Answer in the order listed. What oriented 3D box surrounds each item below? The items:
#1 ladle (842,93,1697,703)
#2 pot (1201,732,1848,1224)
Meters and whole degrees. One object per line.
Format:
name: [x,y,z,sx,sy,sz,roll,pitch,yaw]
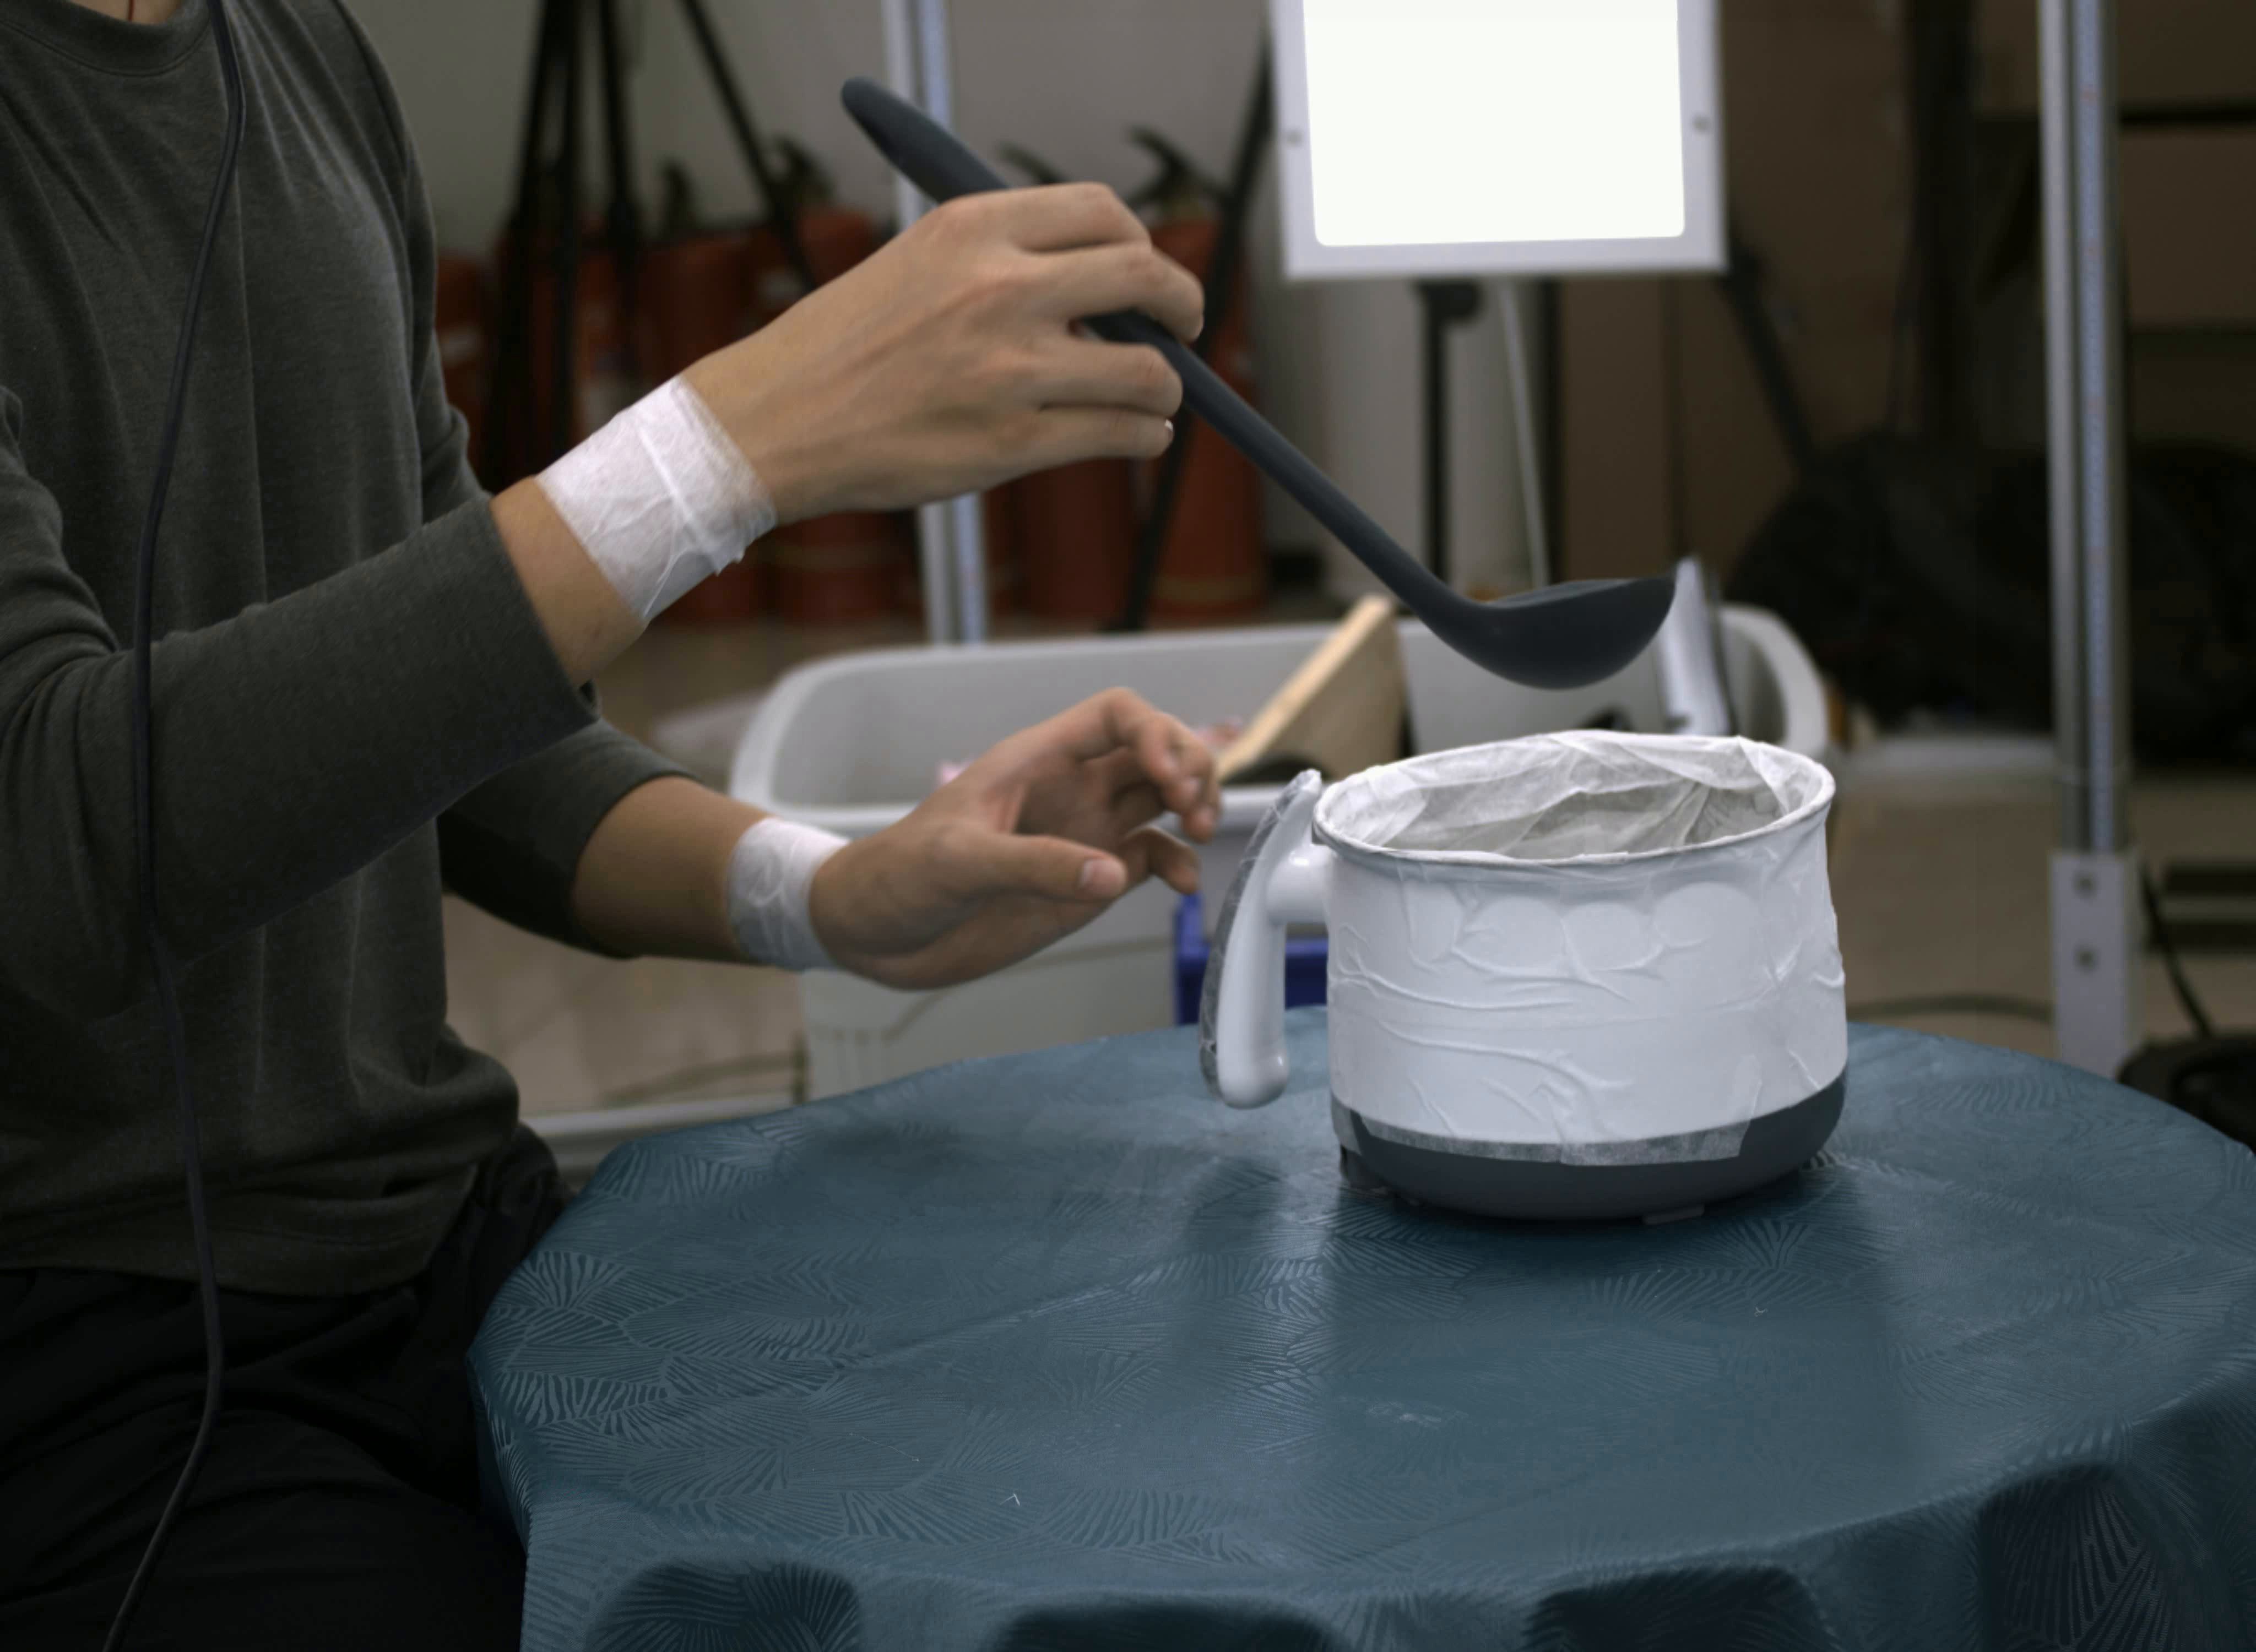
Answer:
ladle: [0.044,-0.142,1.701,0.063,0.311,0.087,-56,15,-17]
pot: [0.131,0.049,1.881,0.238,0.137,0.175,2,15,28]
